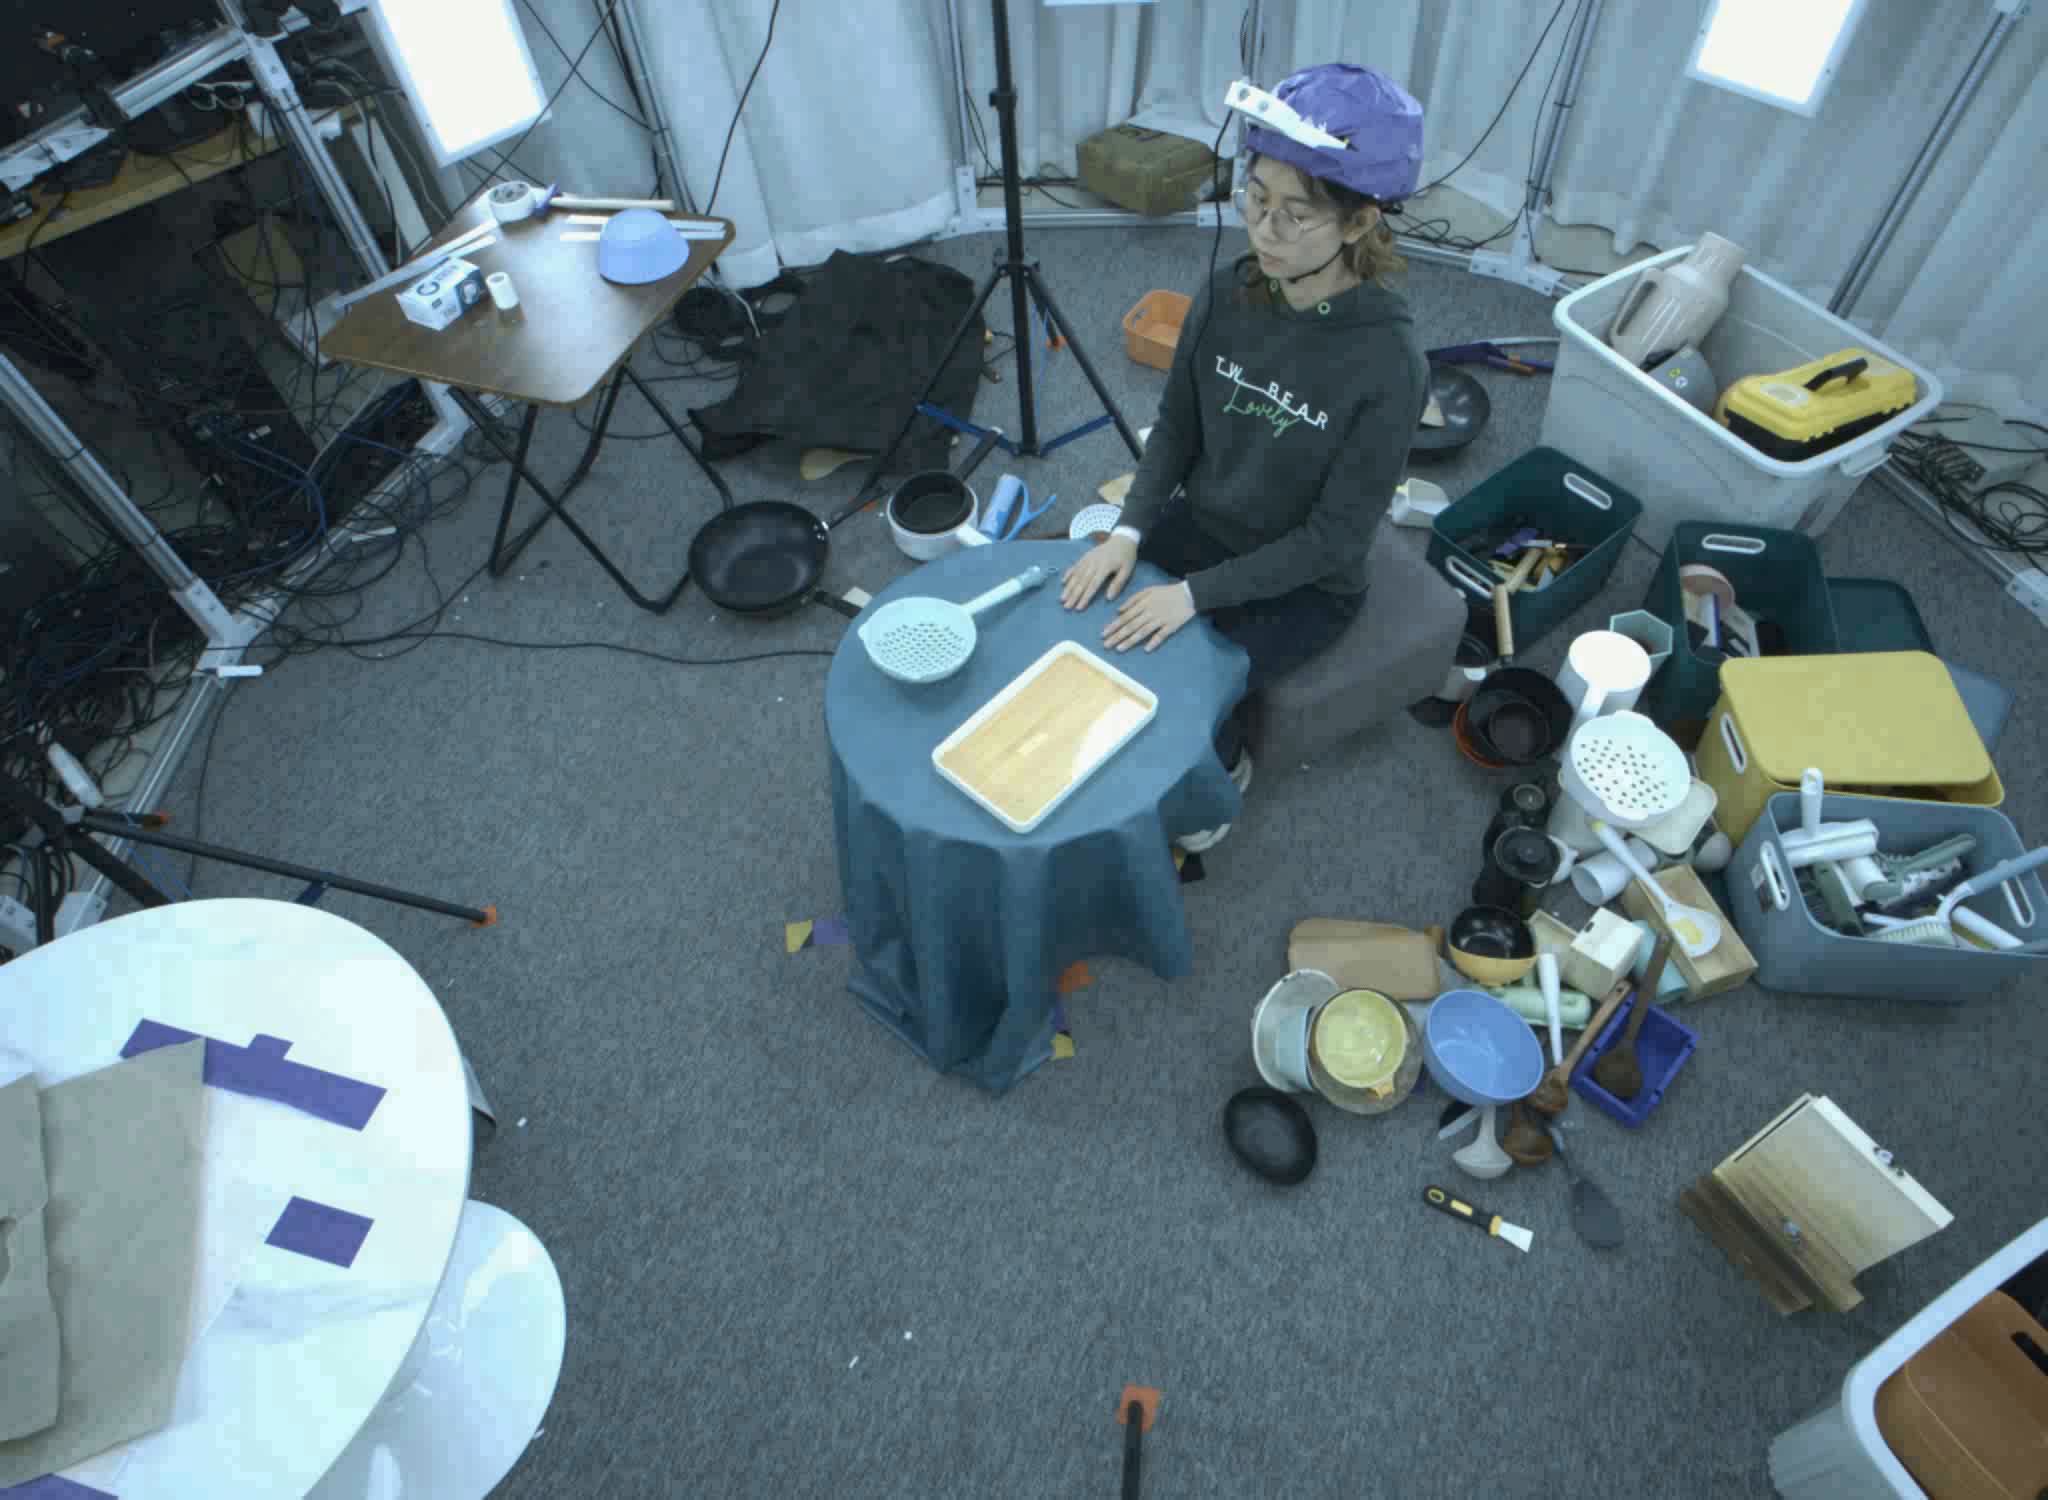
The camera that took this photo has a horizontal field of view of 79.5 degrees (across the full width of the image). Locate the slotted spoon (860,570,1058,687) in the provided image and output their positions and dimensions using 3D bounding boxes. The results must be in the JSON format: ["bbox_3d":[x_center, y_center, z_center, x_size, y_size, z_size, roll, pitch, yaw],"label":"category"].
[{"bbox_3d":[-0.083,-0.208,1.907,0.361,0.076,0.166,-37,62,-22],"label":"slotted spoon"}]

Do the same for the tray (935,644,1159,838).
[{"bbox_3d":[0.036,-0.019,1.794,0.188,0.028,0.302,37,64,24],"label":"tray"}]
